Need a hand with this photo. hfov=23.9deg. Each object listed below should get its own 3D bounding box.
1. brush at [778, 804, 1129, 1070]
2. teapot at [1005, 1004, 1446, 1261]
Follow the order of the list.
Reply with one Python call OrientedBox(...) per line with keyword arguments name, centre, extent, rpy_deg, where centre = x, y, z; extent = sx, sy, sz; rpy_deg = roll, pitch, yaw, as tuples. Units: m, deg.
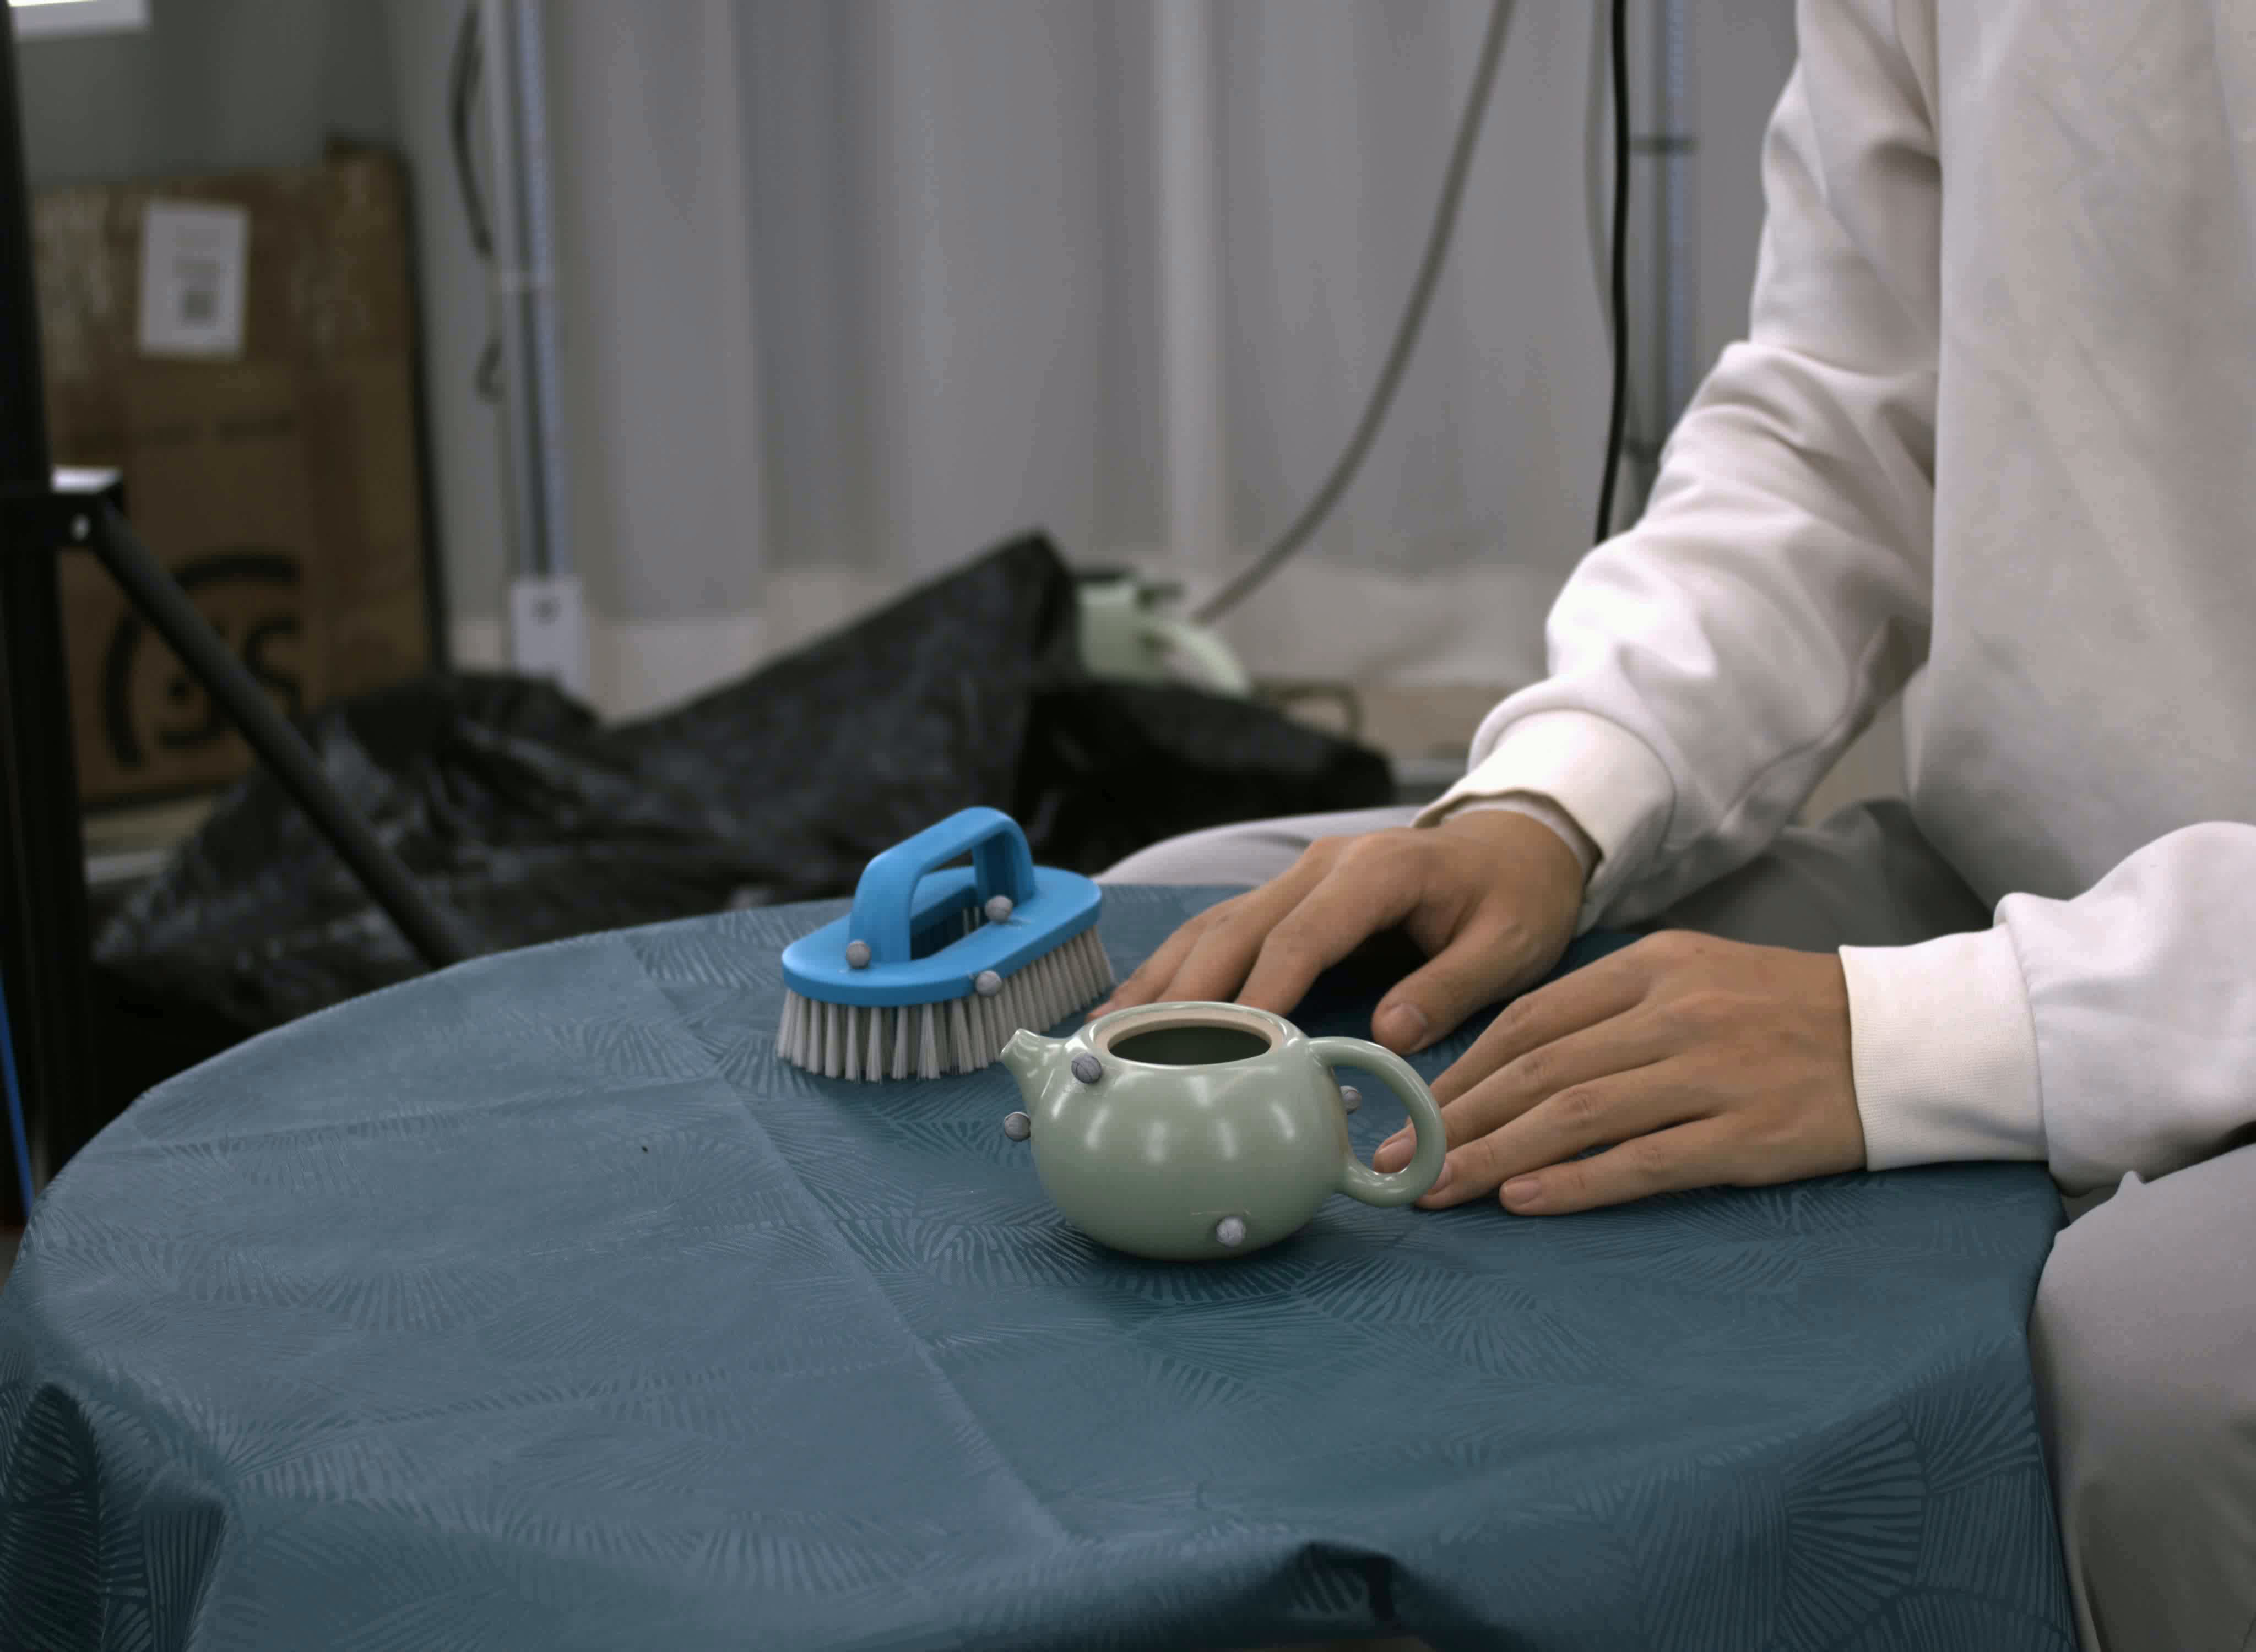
OrientedBox(name="brush", centre=(-0.059, 0.031, 1.723), extent=(0.086, 0.064, 0.139), rpy_deg=(1, 14, 30))
OrientedBox(name="teapot", centre=(0.028, 0.089, 1.518), extent=(0.129, 0.061, 0.091), rpy_deg=(3, 13, 13))
